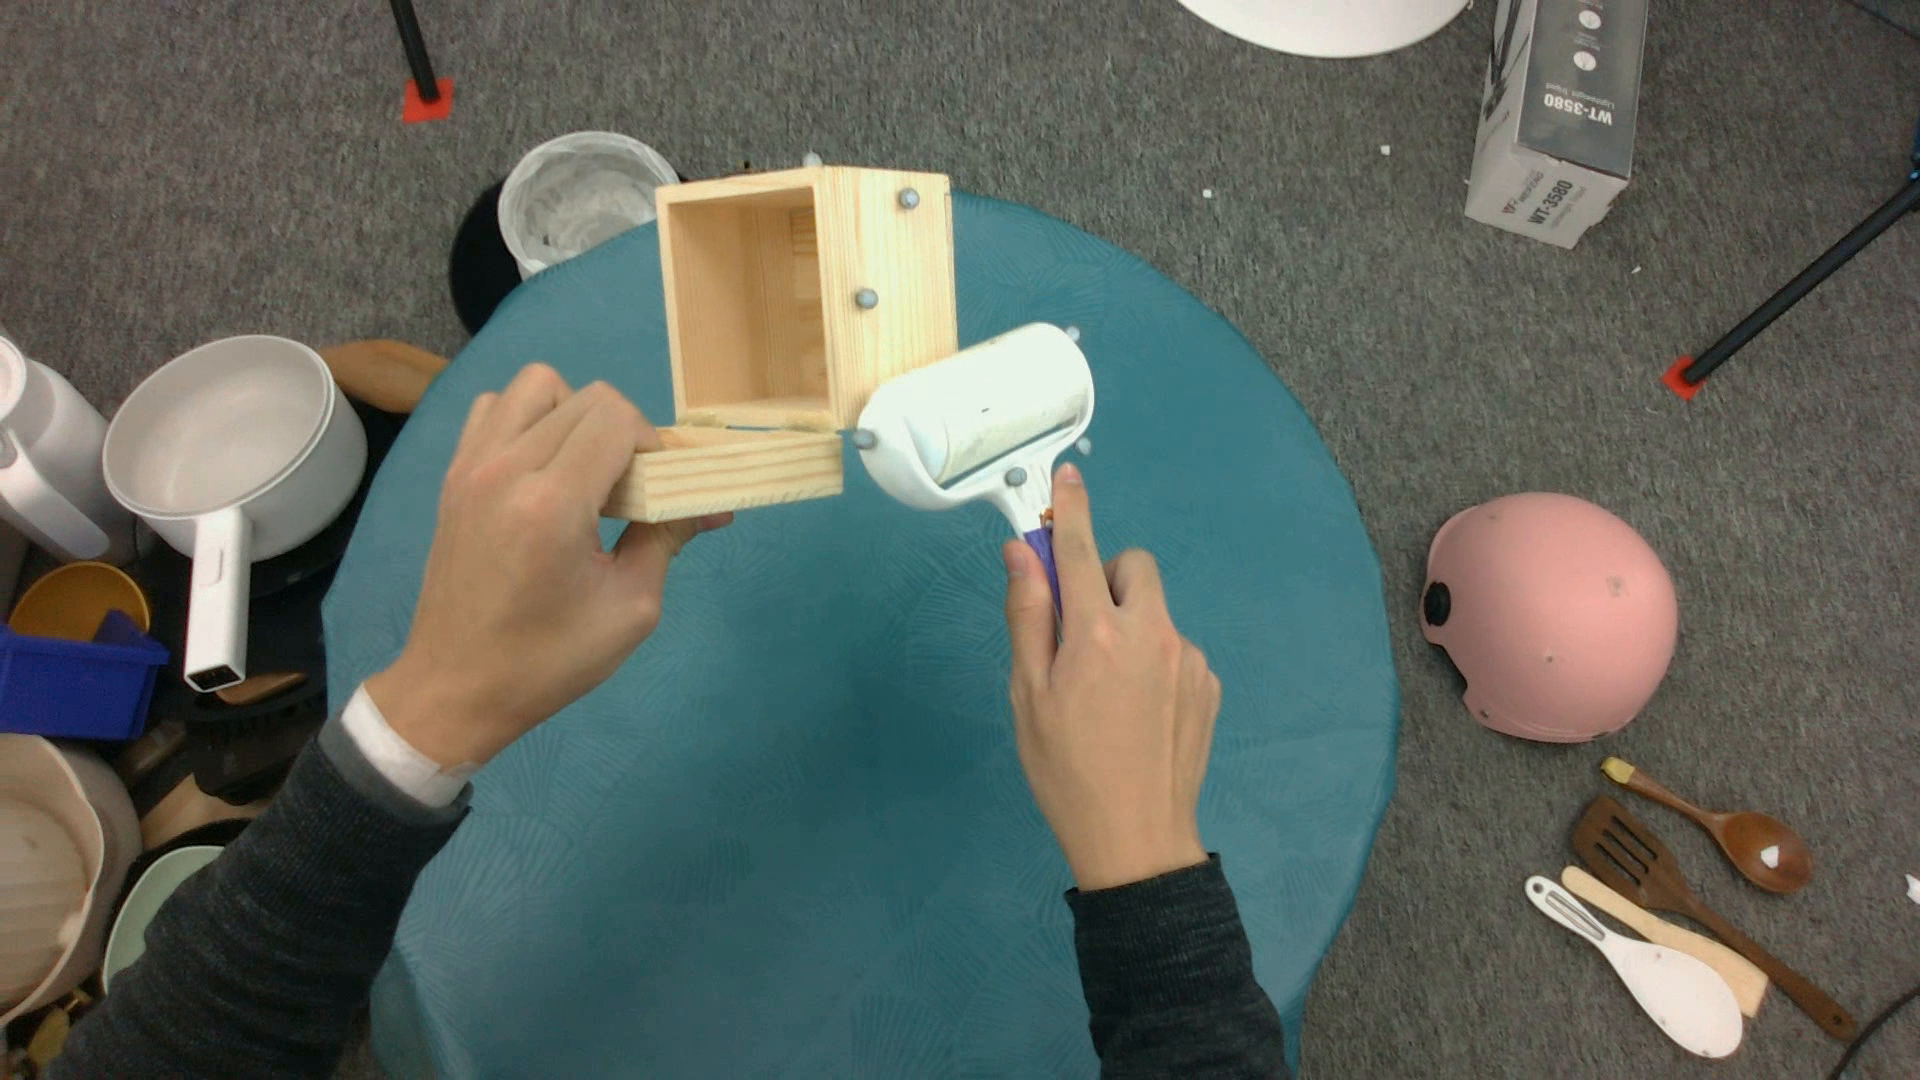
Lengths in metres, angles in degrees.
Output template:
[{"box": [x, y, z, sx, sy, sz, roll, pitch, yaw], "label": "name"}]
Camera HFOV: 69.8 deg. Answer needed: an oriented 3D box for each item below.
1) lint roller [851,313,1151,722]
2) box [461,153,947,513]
[{"box": [0.038, -0.006, 0.578, 0.133, 0.050, 0.181, -28, 84, -48], "label": "lint roller"}, {"box": [-0.101, -0.090, 0.560, 0.185, 0.102, 0.133, -16, 107, -51], "label": "box"}]
